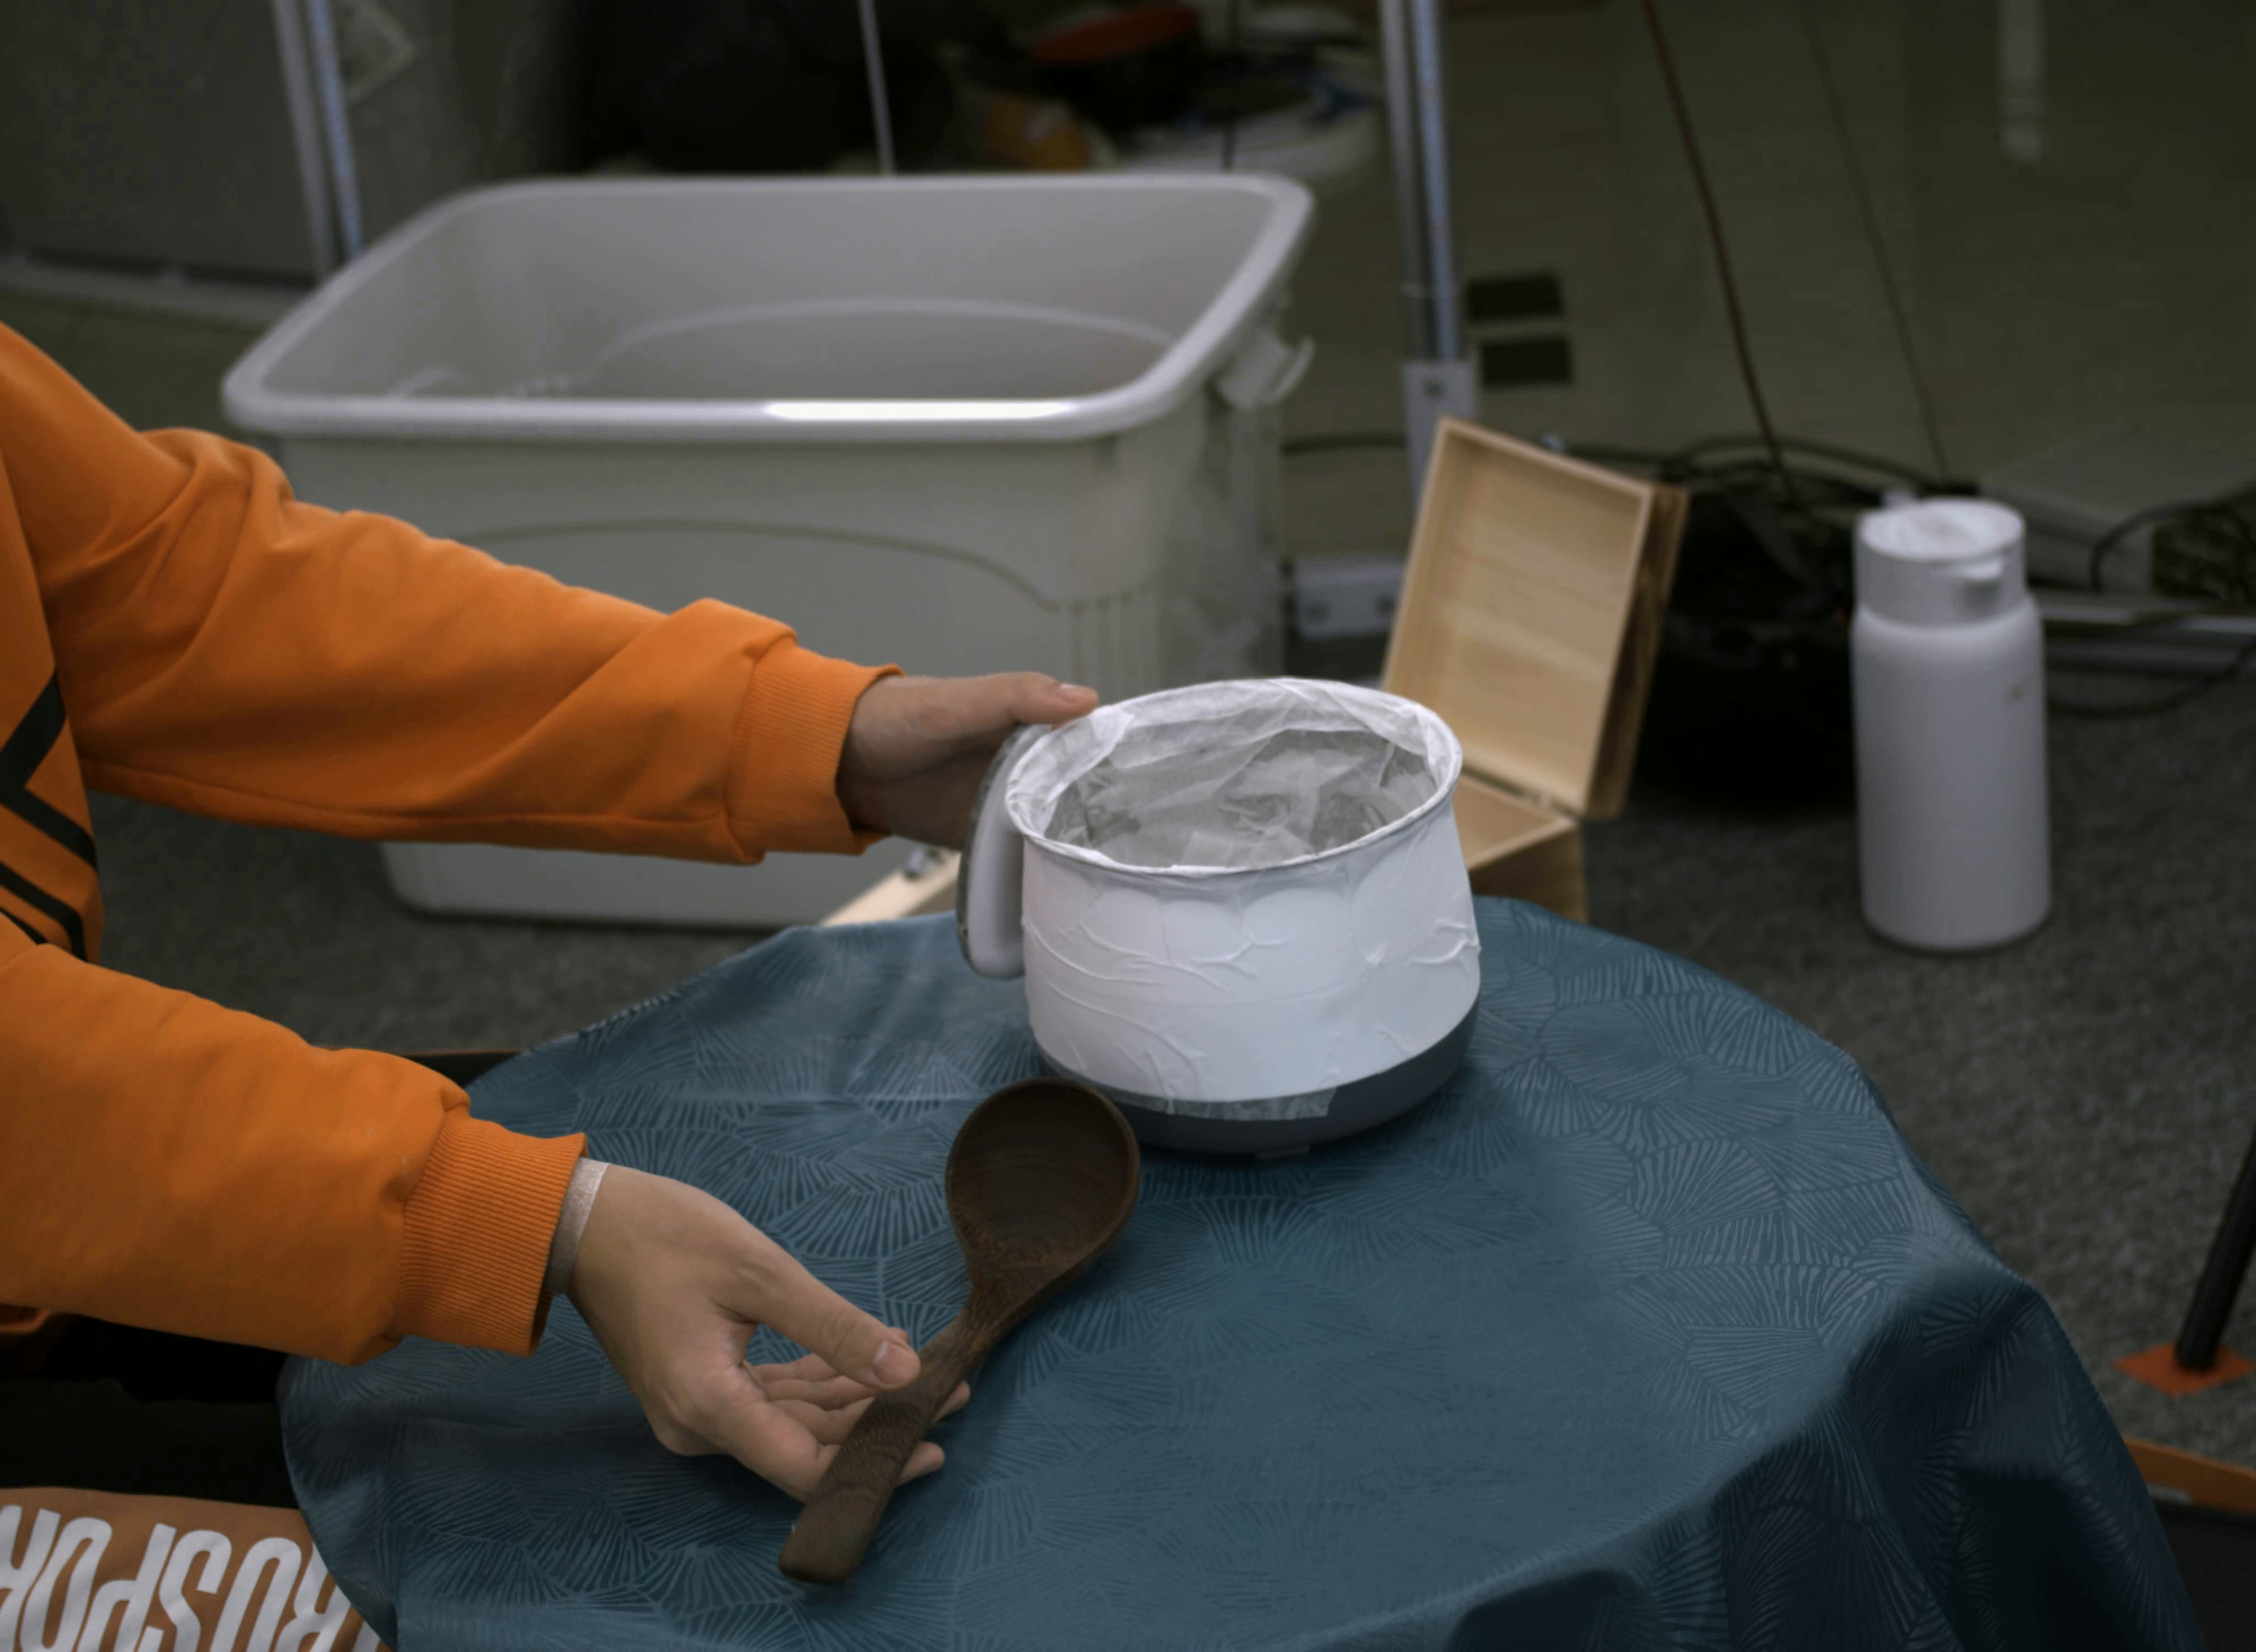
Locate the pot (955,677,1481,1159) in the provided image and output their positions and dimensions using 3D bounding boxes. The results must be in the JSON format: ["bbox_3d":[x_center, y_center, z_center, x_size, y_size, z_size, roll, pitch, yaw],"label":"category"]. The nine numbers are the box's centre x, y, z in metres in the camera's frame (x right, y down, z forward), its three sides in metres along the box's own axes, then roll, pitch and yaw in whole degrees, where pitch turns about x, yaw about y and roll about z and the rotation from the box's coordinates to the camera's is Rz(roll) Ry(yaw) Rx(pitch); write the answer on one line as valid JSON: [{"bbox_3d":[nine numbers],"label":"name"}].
[{"bbox_3d":[0.024,0.031,2.207,0.232,0.139,0.177,14,32,36],"label":"pot"}]

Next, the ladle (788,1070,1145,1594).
[{"bbox_3d":[-0.063,0.172,2.003,0.076,0.072,0.270,4,25,18],"label":"ladle"}]
